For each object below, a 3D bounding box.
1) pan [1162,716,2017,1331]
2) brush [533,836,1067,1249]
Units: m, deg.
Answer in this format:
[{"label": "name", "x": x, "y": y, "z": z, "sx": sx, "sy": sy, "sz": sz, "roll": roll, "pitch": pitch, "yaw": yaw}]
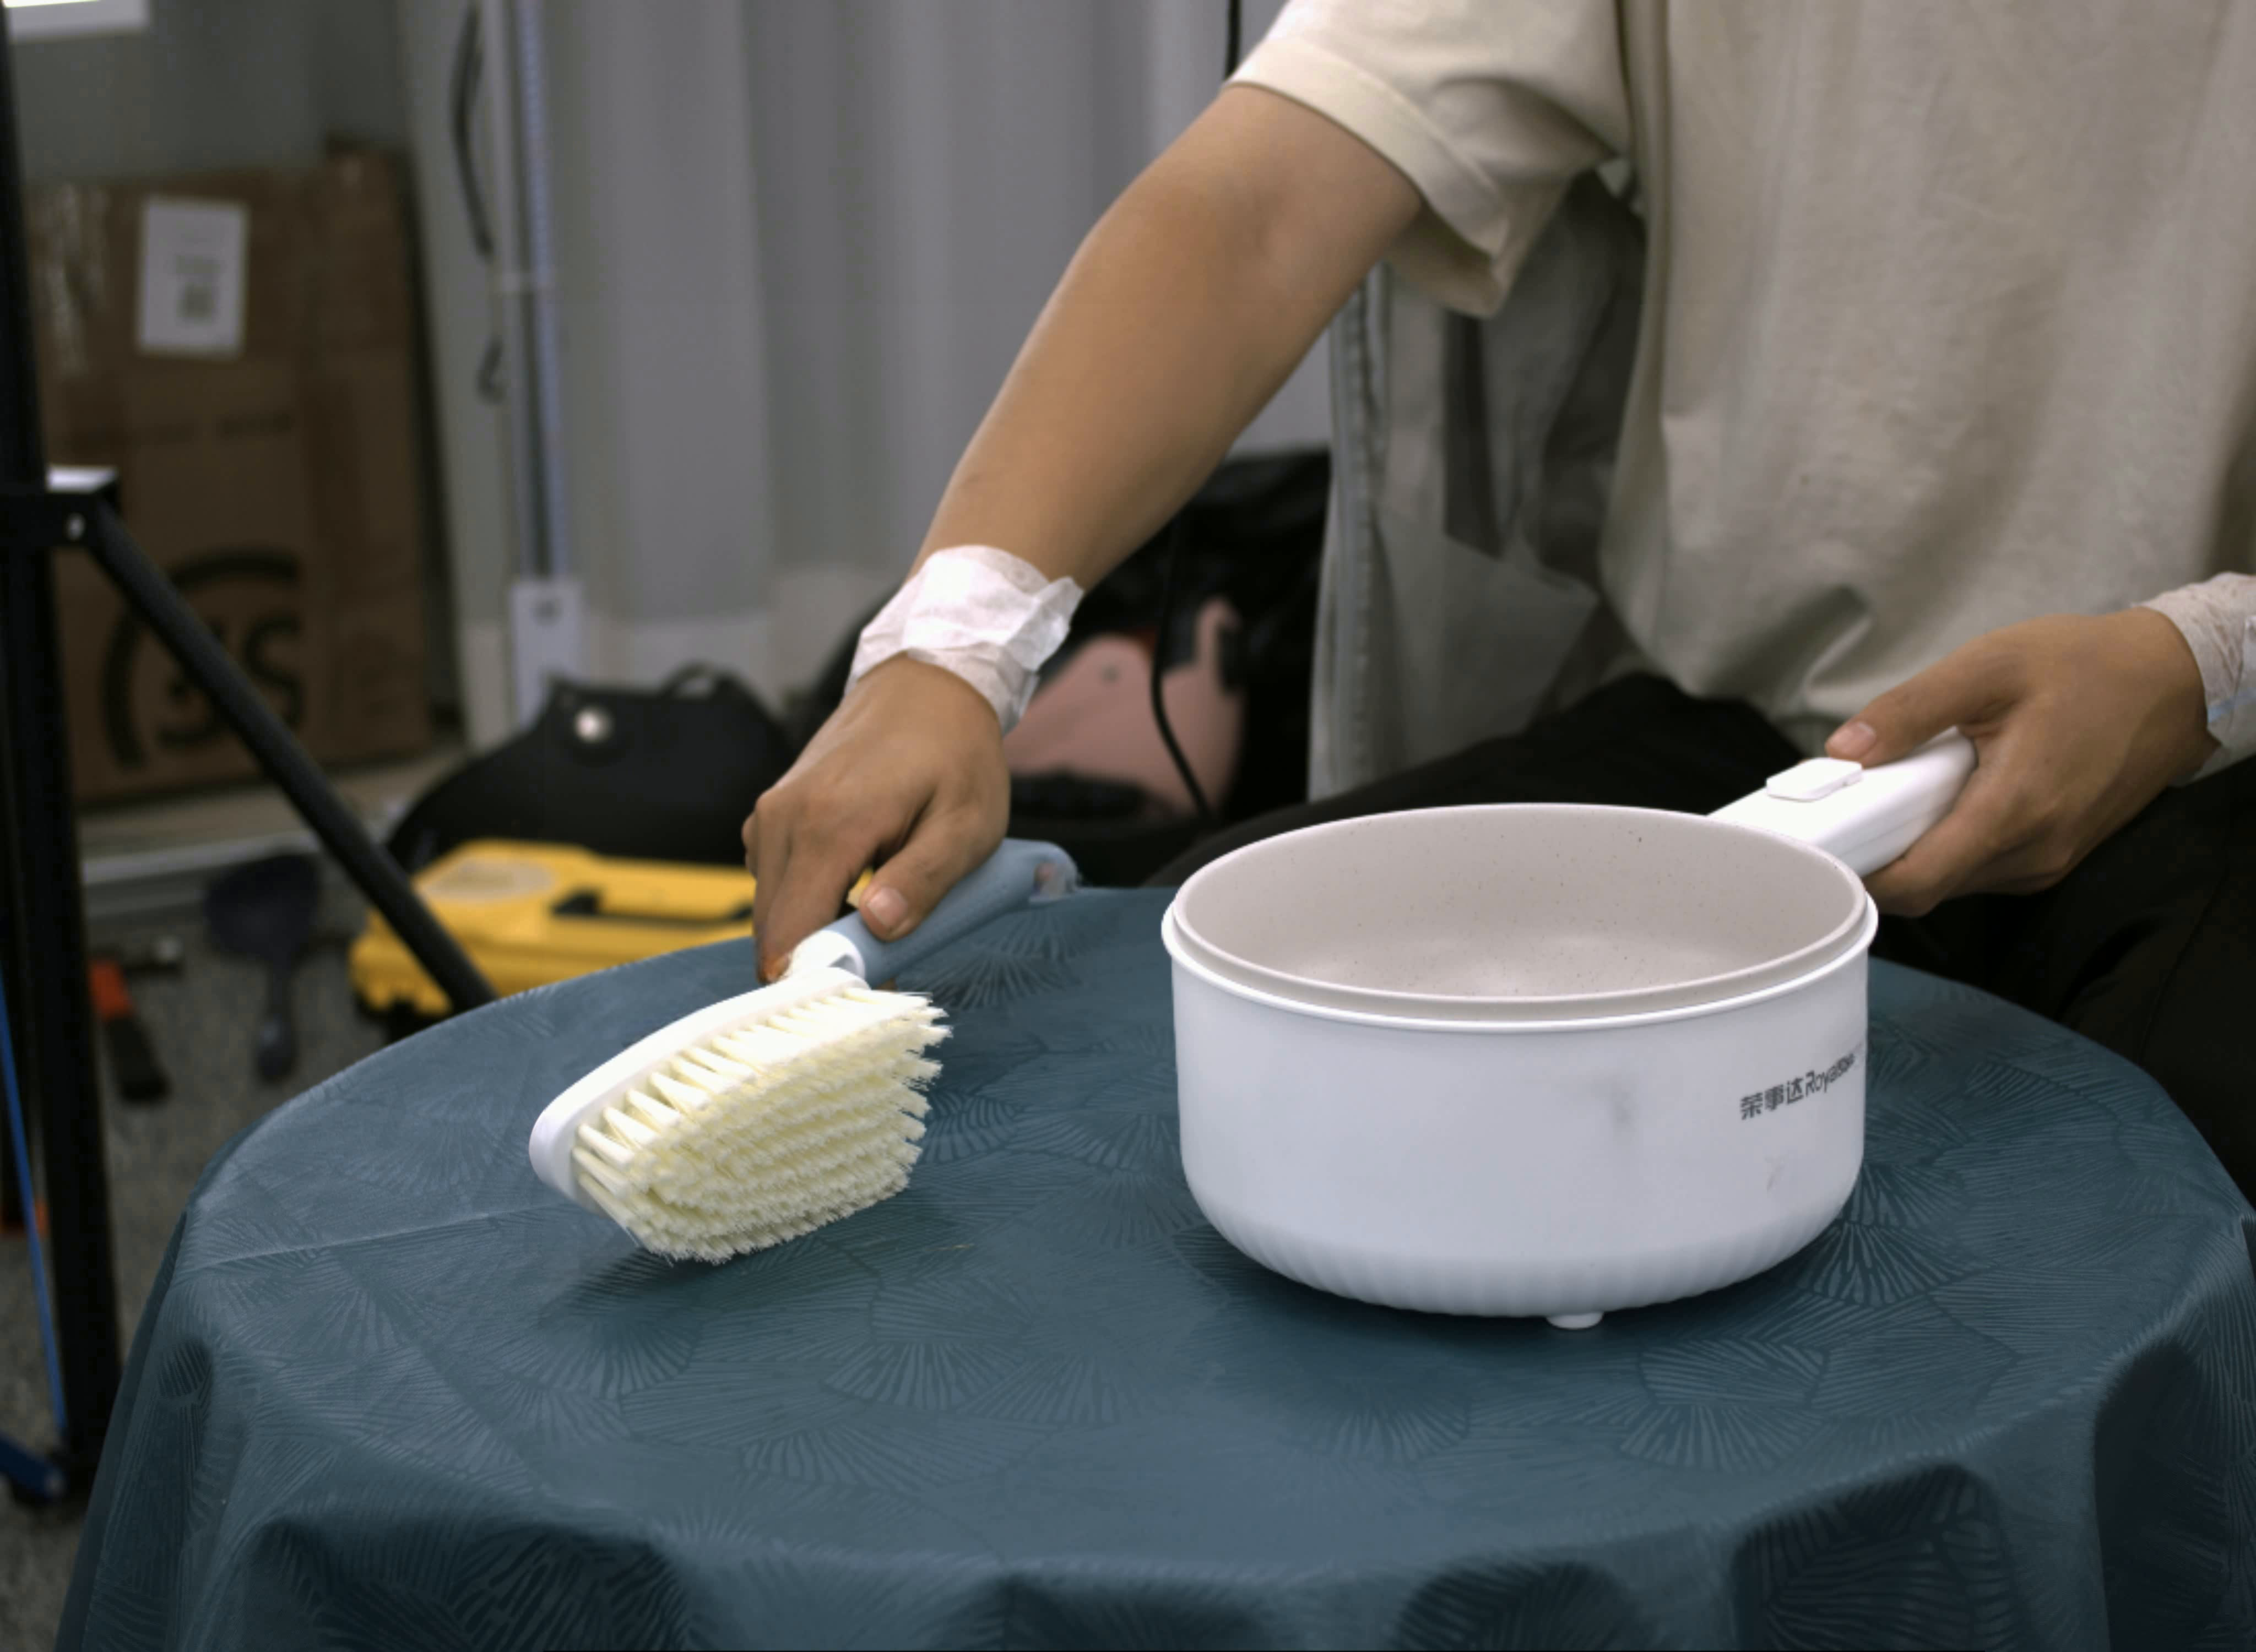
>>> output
[{"label": "pan", "x": 0.157, "y": 0.052, "z": 1.552, "sx": 0.205, "sy": 0.102, "sz": 0.347, "roll": 9, "pitch": 18, "yaw": 37}, {"label": "brush", "x": -0.066, "y": 0.057, "z": 1.615, "sx": 0.084, "sy": 0.085, "sz": 0.320, "roll": -39, "pitch": -5, "yaw": 29}]
